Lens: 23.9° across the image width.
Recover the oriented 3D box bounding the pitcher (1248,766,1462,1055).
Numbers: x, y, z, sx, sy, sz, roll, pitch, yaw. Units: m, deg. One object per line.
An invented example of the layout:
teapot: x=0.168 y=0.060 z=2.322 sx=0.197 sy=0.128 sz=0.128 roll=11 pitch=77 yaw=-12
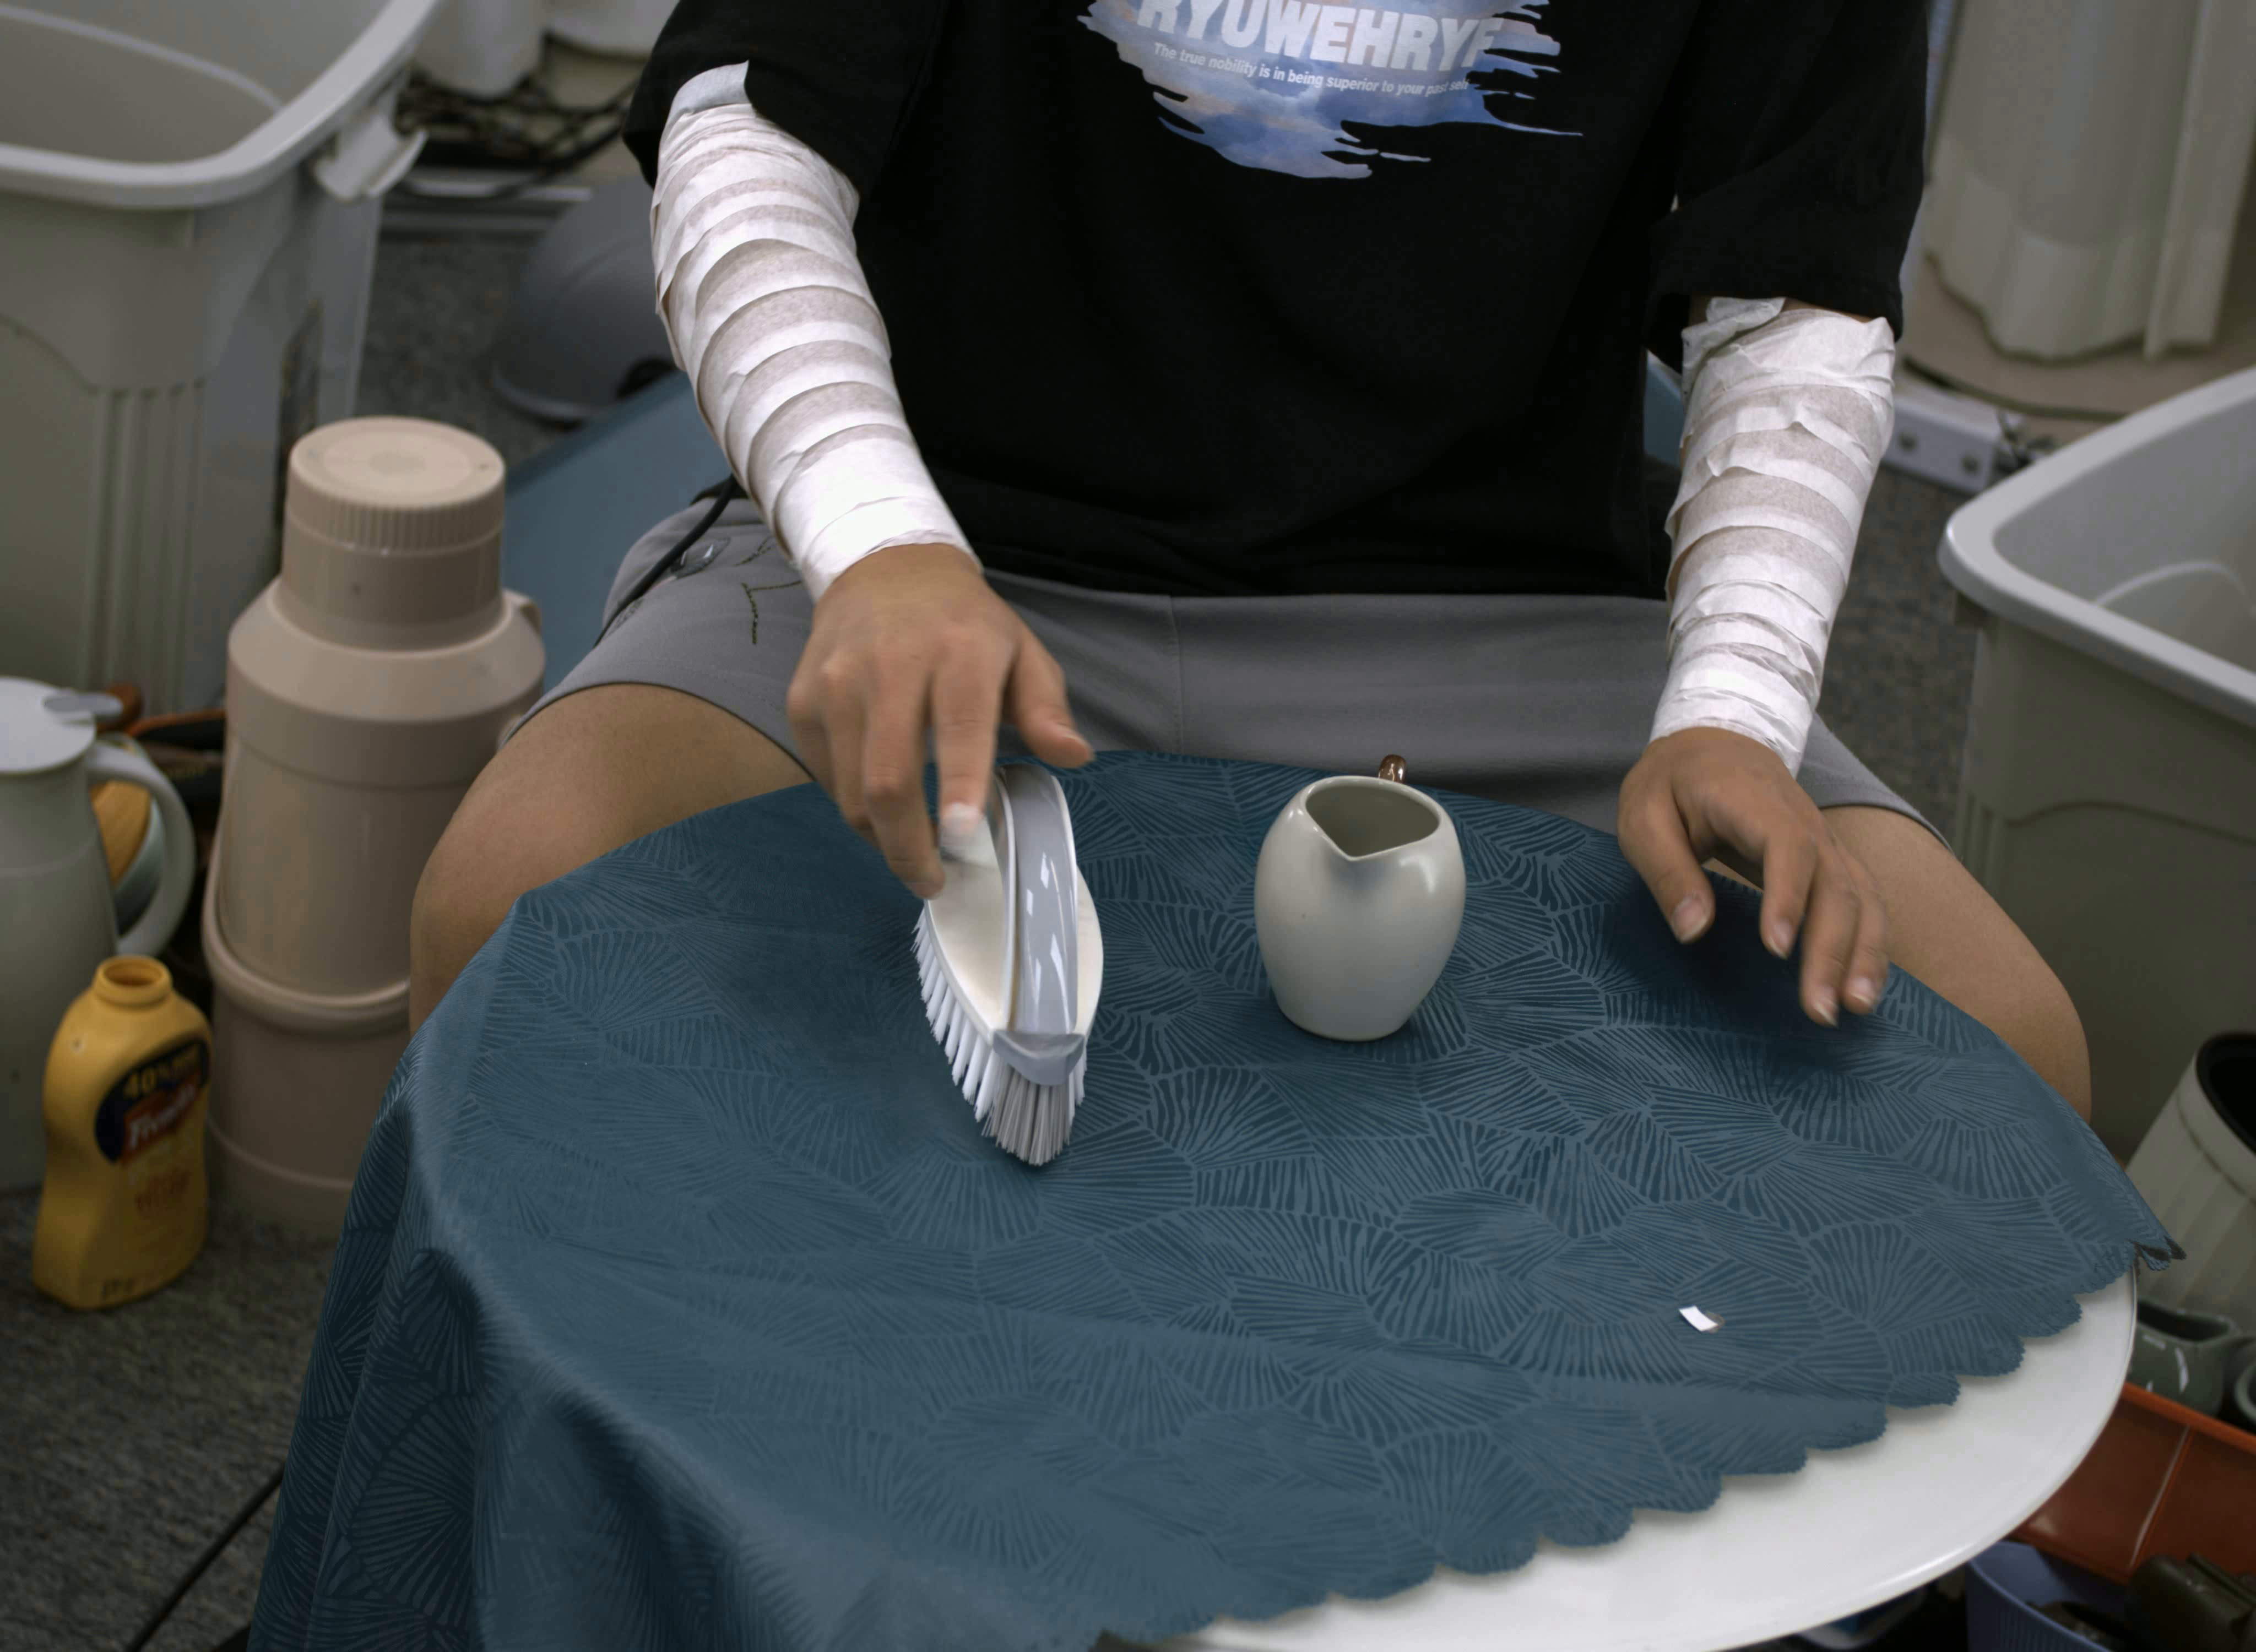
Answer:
pitcher: x=0.082 y=0.031 z=1.912 sx=0.076 sy=0.087 sz=0.119 roll=16 pitch=29 yaw=9

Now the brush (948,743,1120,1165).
brush: x=-0.031 y=0.036 z=1.865 sx=0.061 sy=0.094 sz=0.177 roll=3 pitch=31 yaw=-5
